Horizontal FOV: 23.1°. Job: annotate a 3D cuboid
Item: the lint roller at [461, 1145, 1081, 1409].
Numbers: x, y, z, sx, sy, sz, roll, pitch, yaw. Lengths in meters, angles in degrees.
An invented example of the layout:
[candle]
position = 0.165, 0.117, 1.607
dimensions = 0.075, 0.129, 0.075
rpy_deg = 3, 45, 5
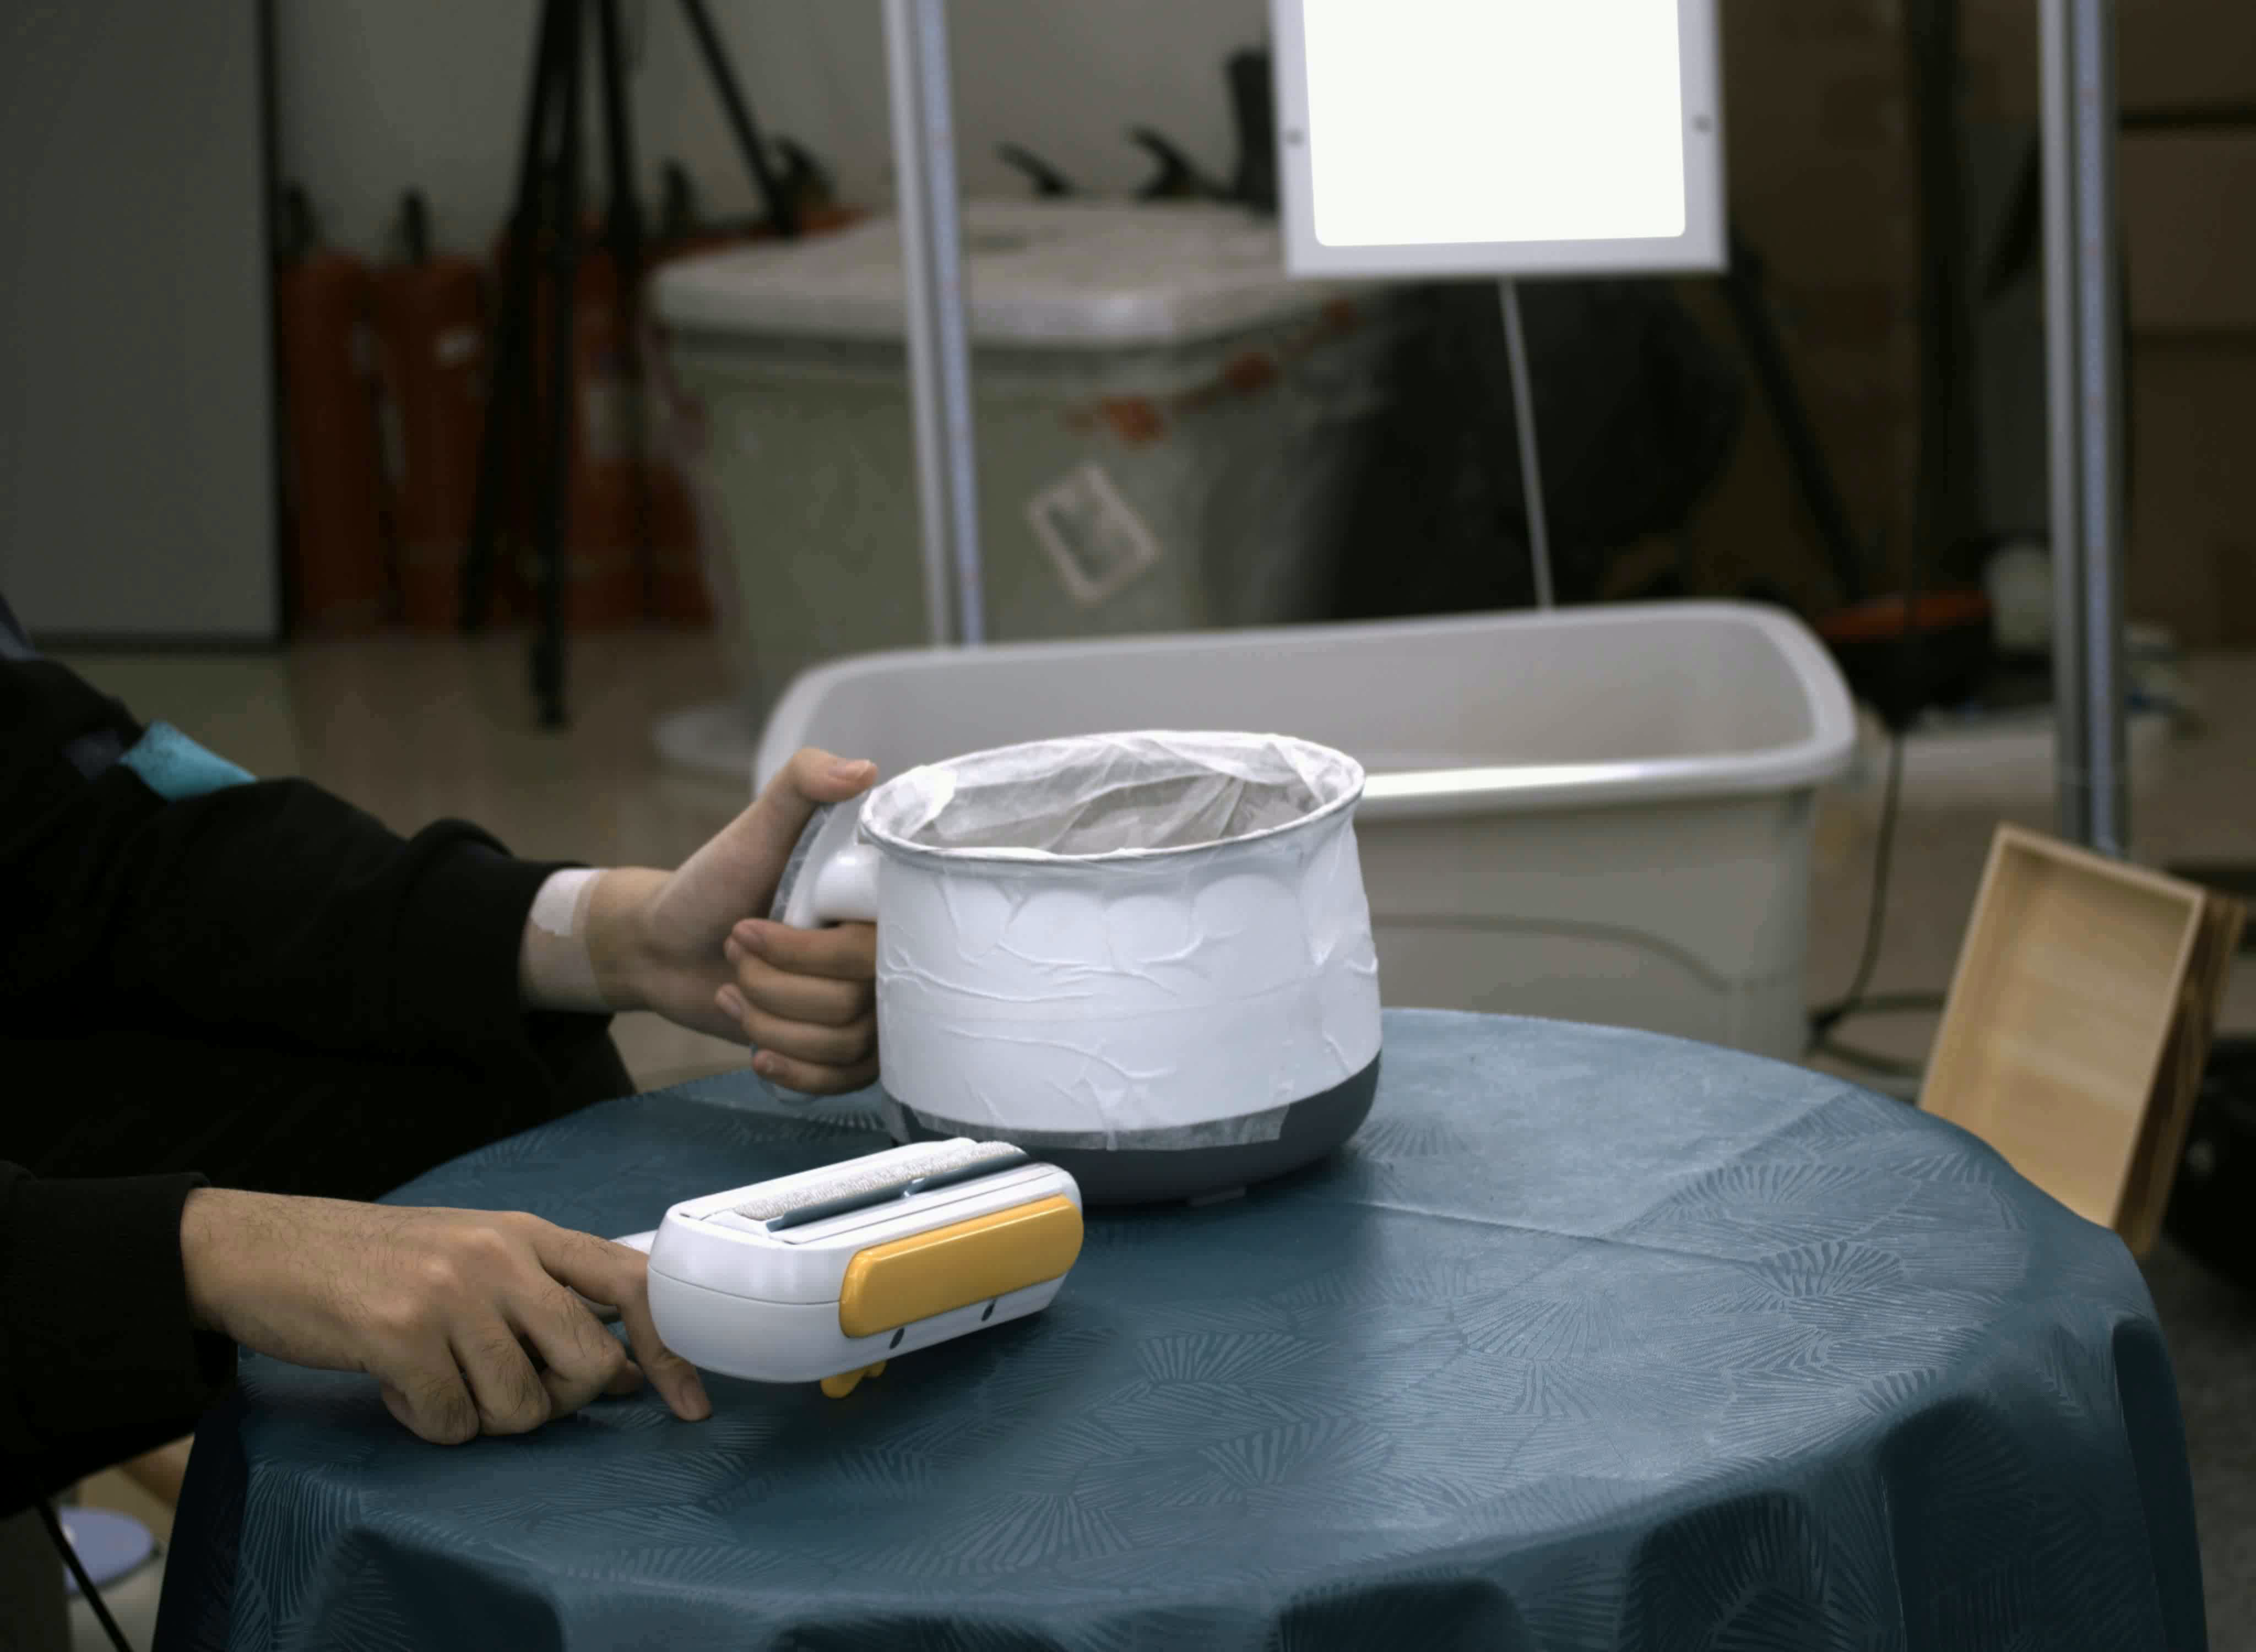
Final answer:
[lint roller]
position = -0.132, 0.141, 1.747
dimensions = 0.196, 0.074, 0.188
rpy_deg = 2, 10, 33

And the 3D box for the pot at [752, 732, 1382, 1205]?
[pot]
position = -0.026, 0.048, 1.932
dimensions = 0.237, 0.137, 0.175
rpy_deg = 2, 14, 23
